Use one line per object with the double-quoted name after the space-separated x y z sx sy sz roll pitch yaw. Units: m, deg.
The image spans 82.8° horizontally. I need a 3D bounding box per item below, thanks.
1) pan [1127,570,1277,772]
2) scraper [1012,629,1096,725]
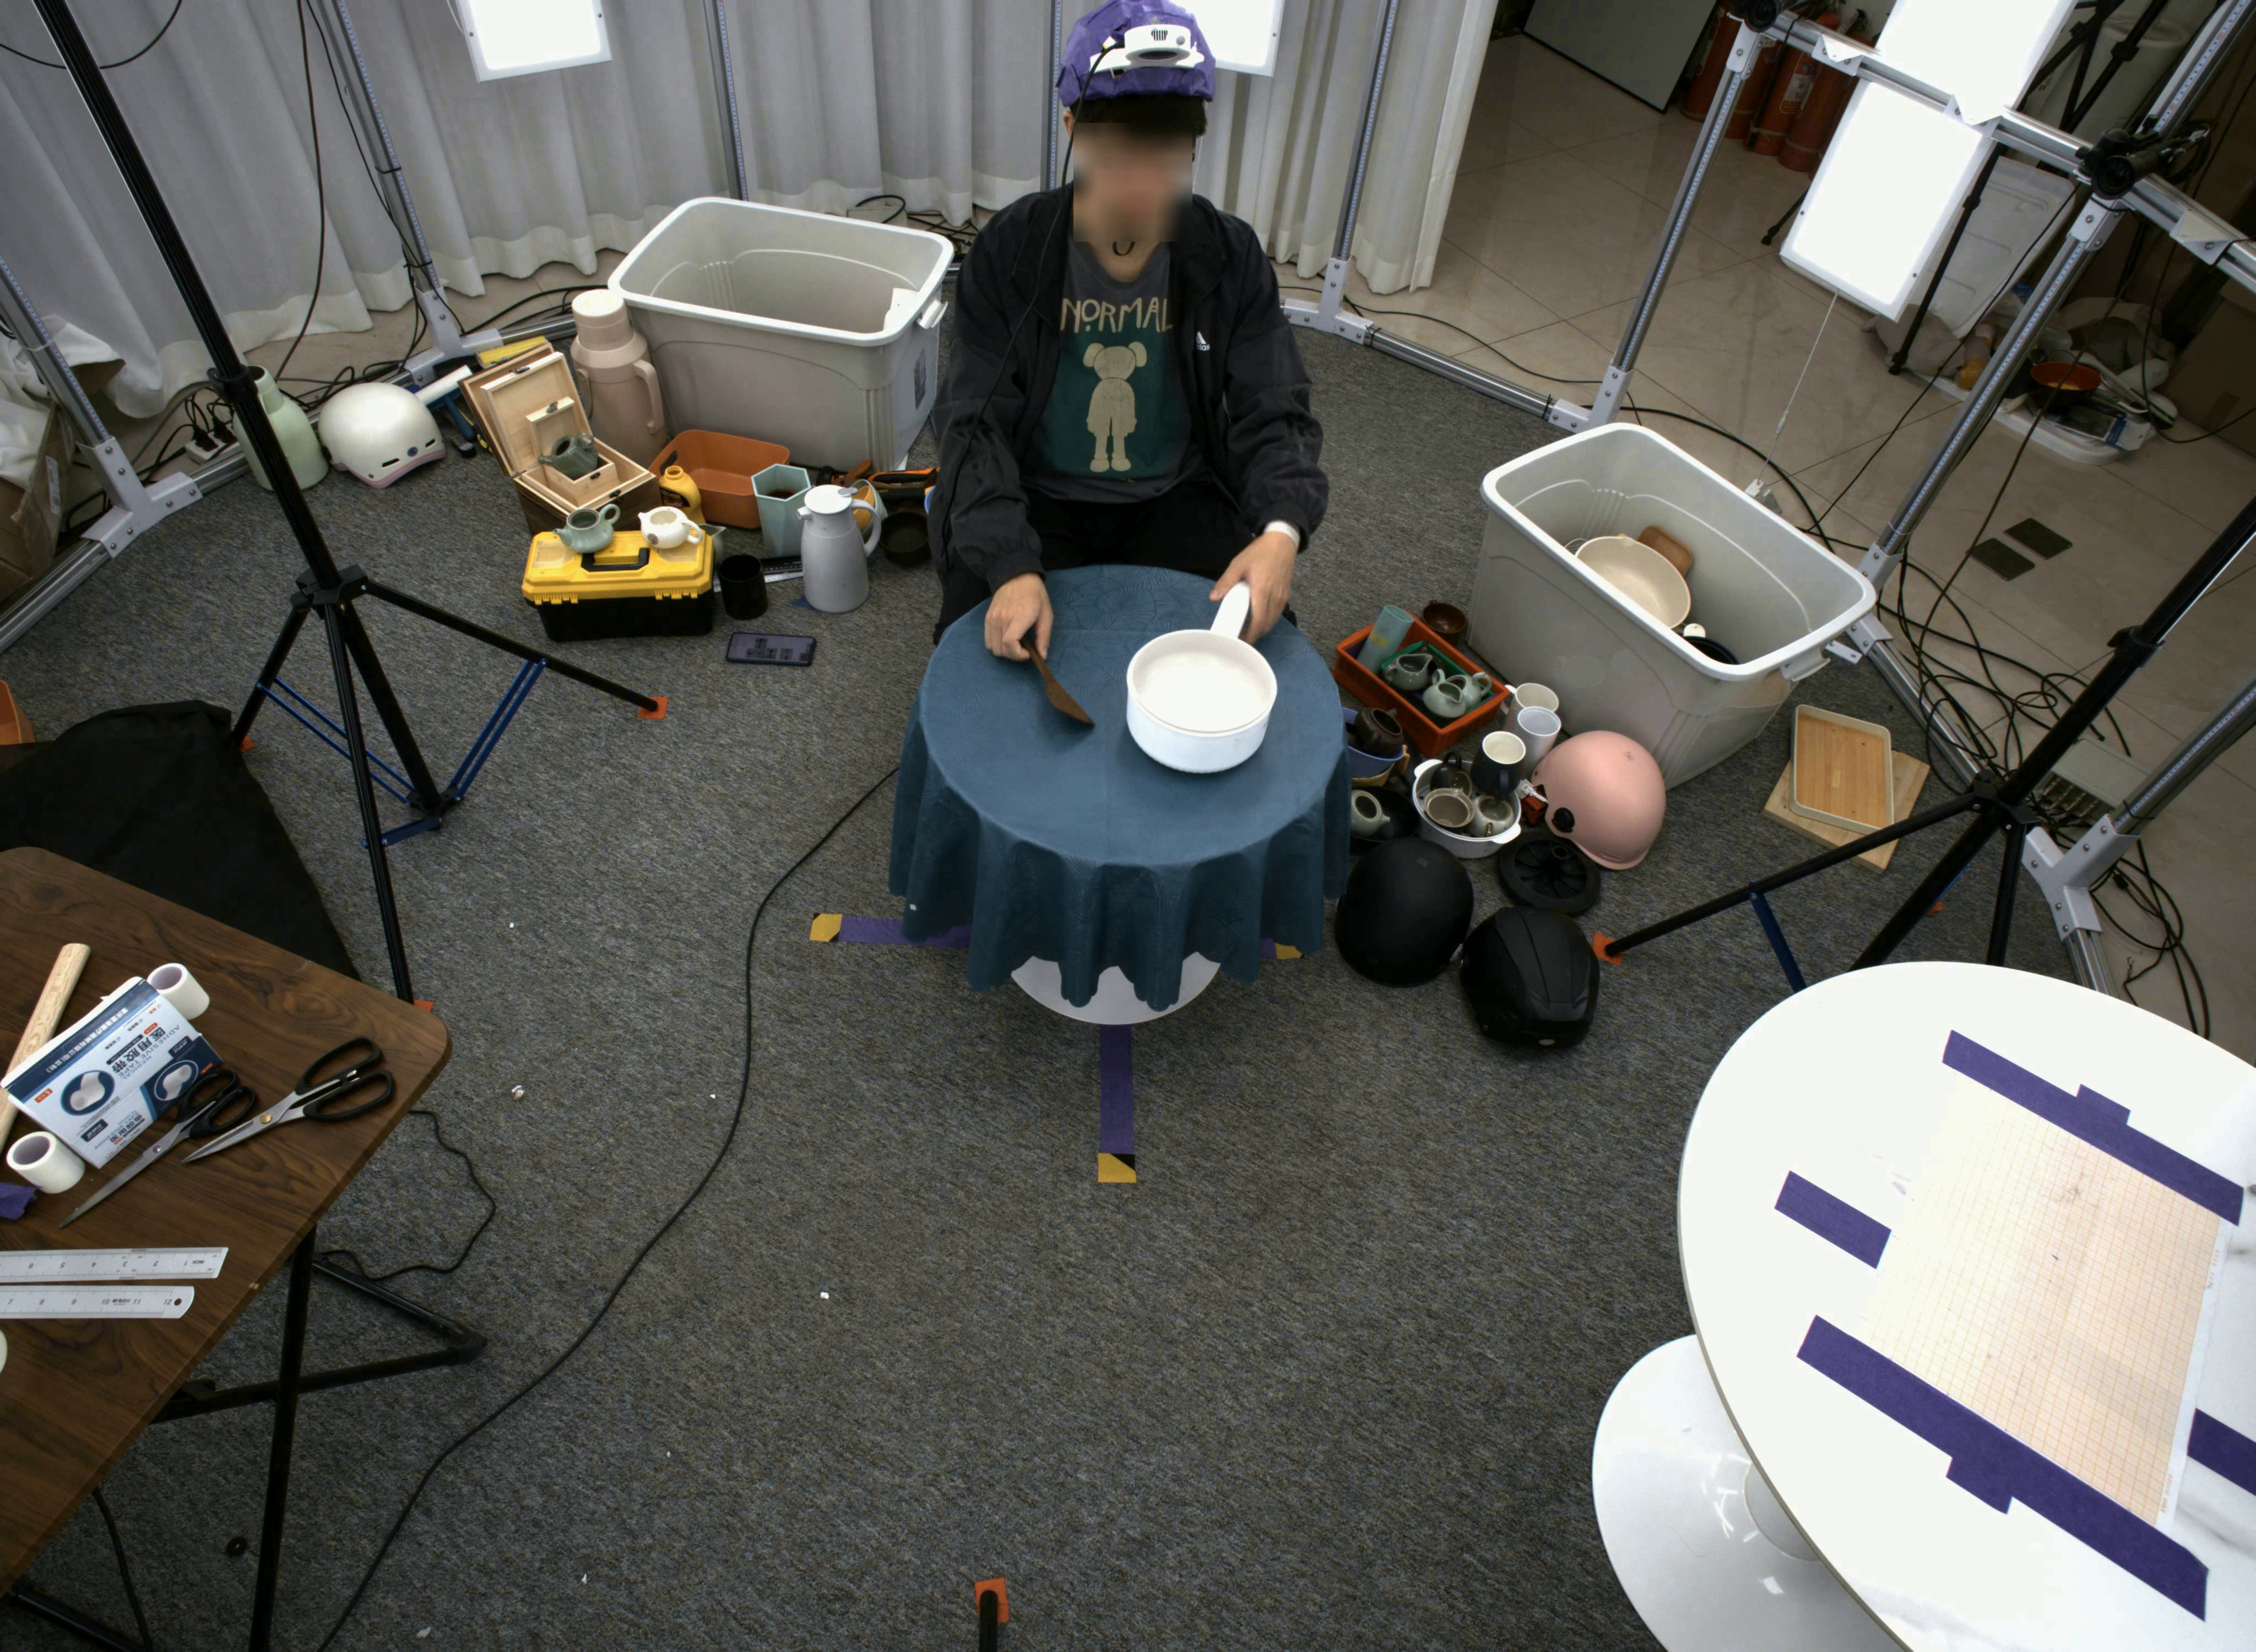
0.121 -0.220 1.802 0.202 0.099 0.362 16 48 10 "pan"
-0.114 -0.213 1.817 0.075 0.010 0.216 13 34 -44 "scraper"
